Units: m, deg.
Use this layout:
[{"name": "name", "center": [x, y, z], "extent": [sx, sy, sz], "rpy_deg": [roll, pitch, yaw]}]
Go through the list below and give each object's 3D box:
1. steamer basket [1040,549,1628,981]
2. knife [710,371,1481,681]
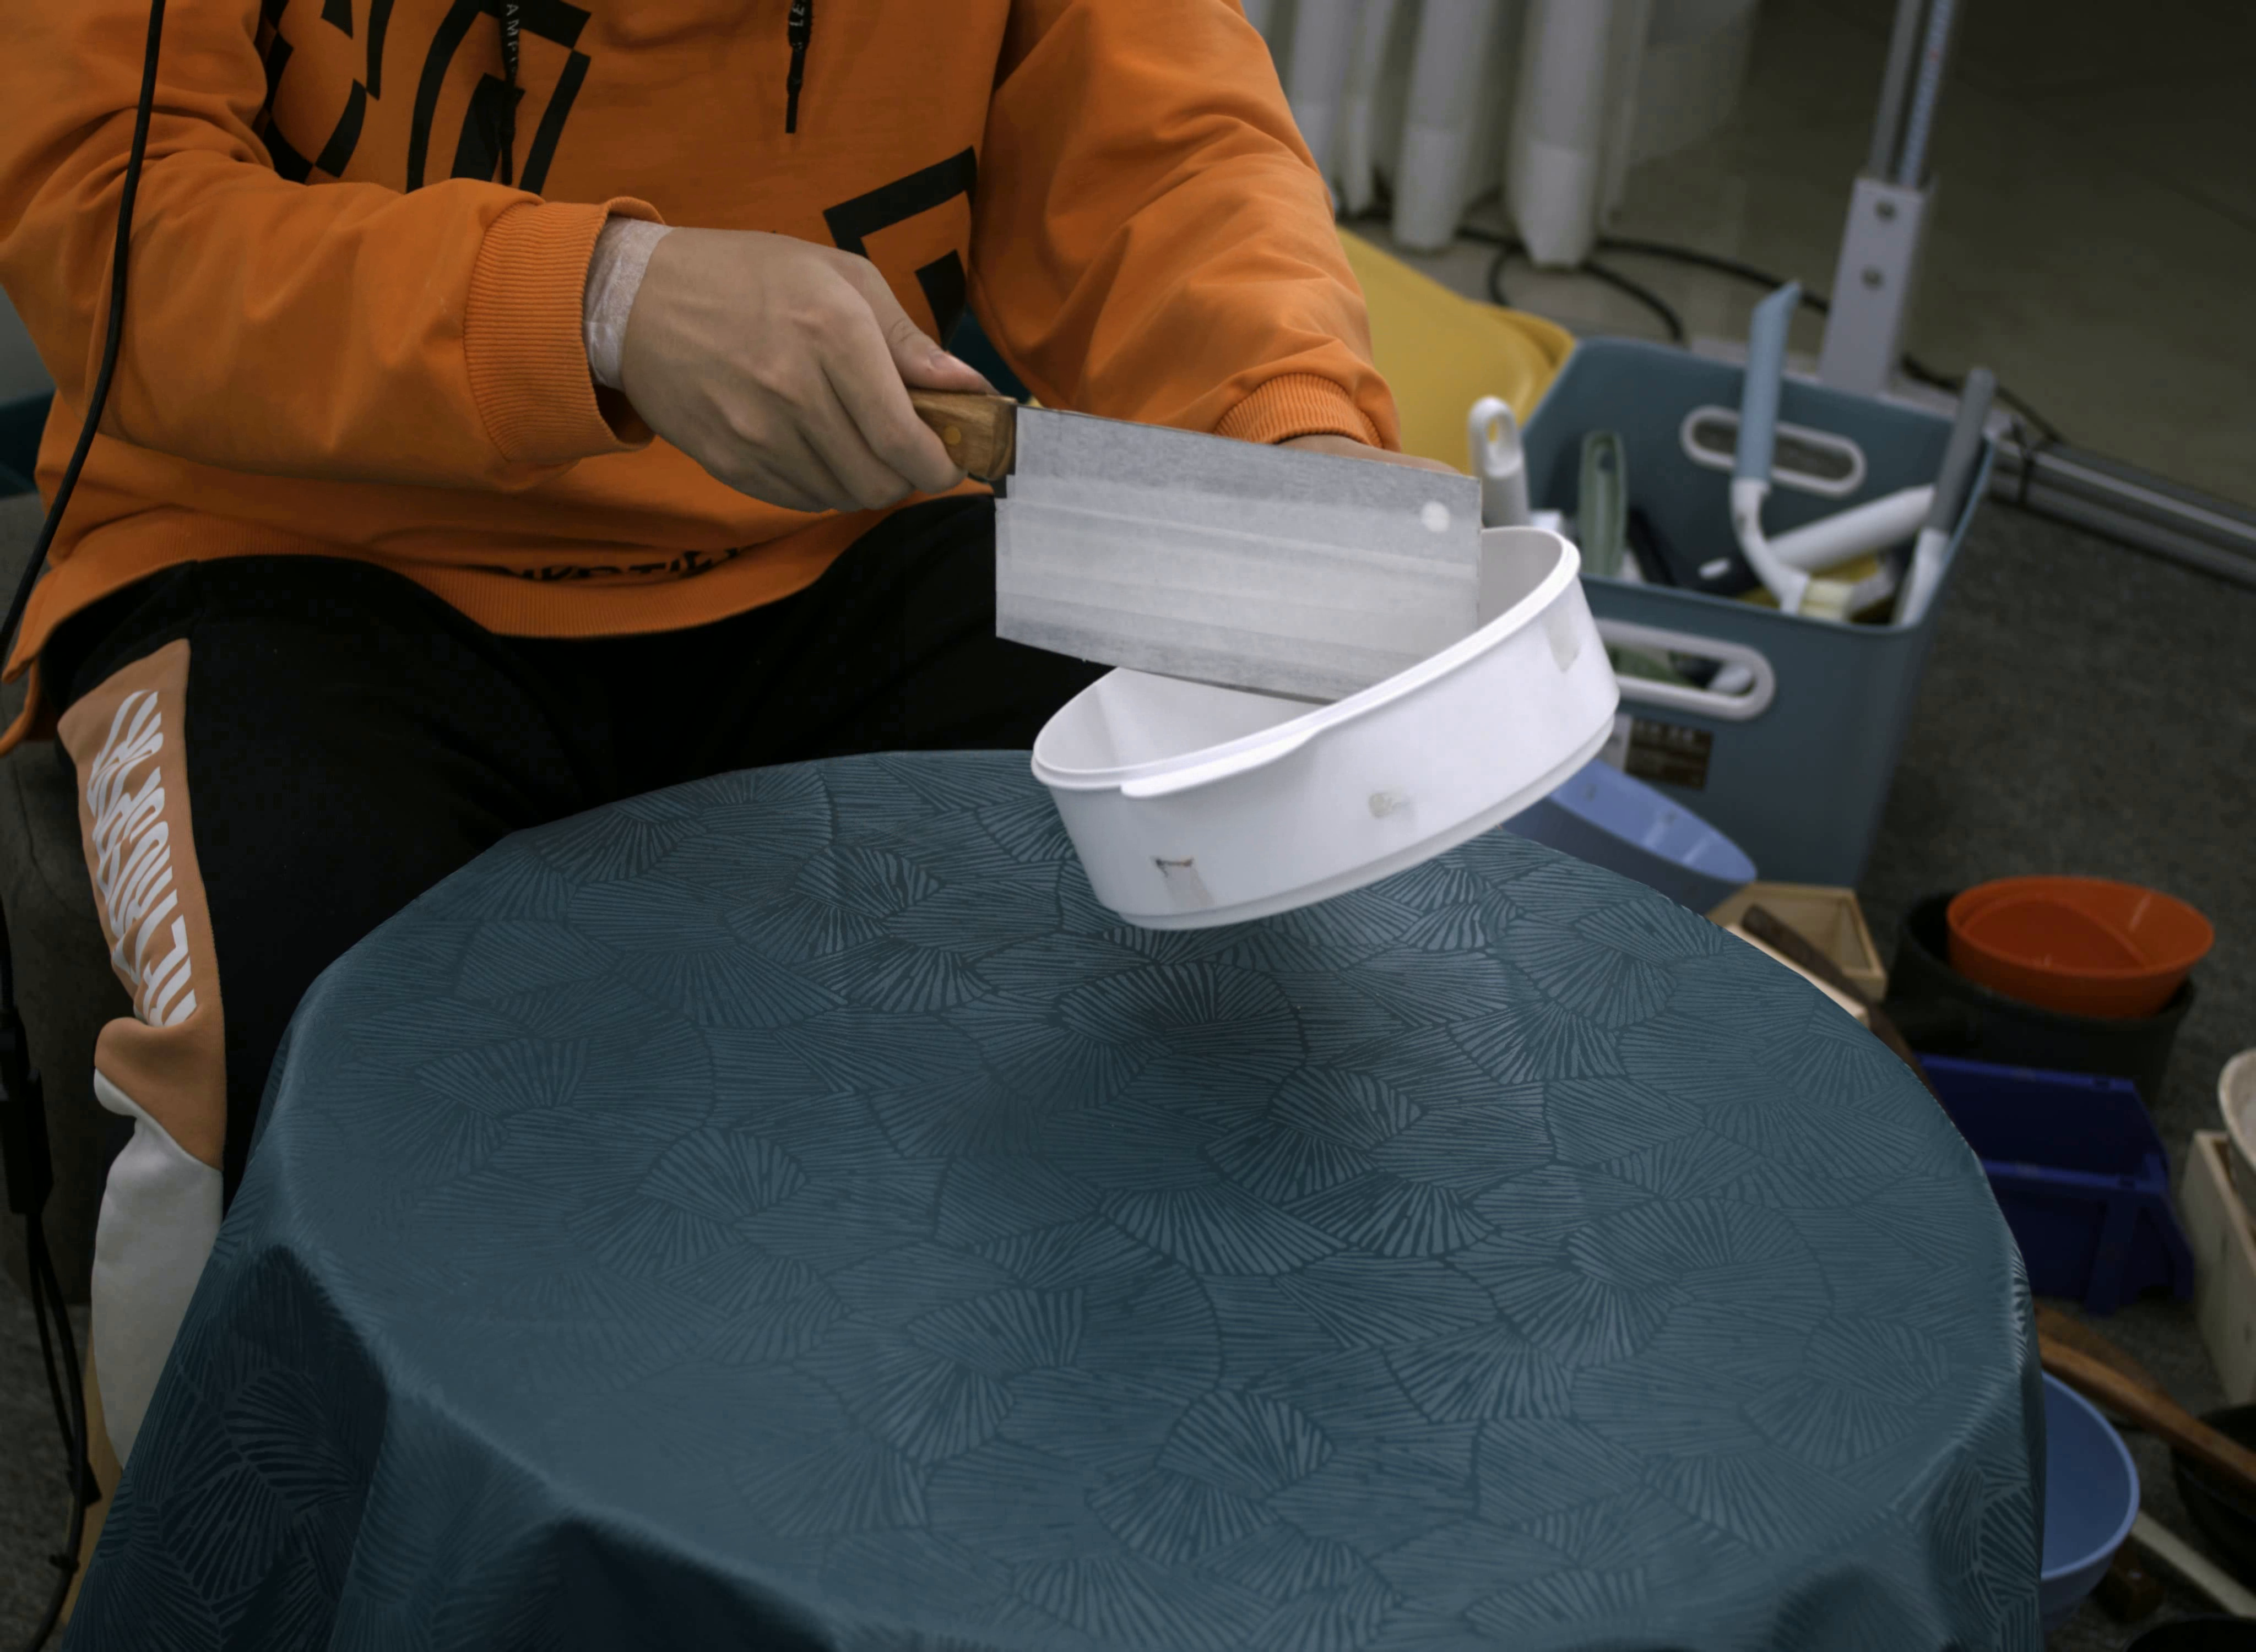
[{"name": "steamer basket", "center": [0.073, -0.020, 1.820], "extent": [0.202, 0.069, 0.231], "rpy_deg": [-16, 20, 25]}, {"name": "knife", "center": [-0.015, -0.103, 1.862], "extent": [0.307, 0.092, 0.021], "rpy_deg": [11, 24, 28]}]
